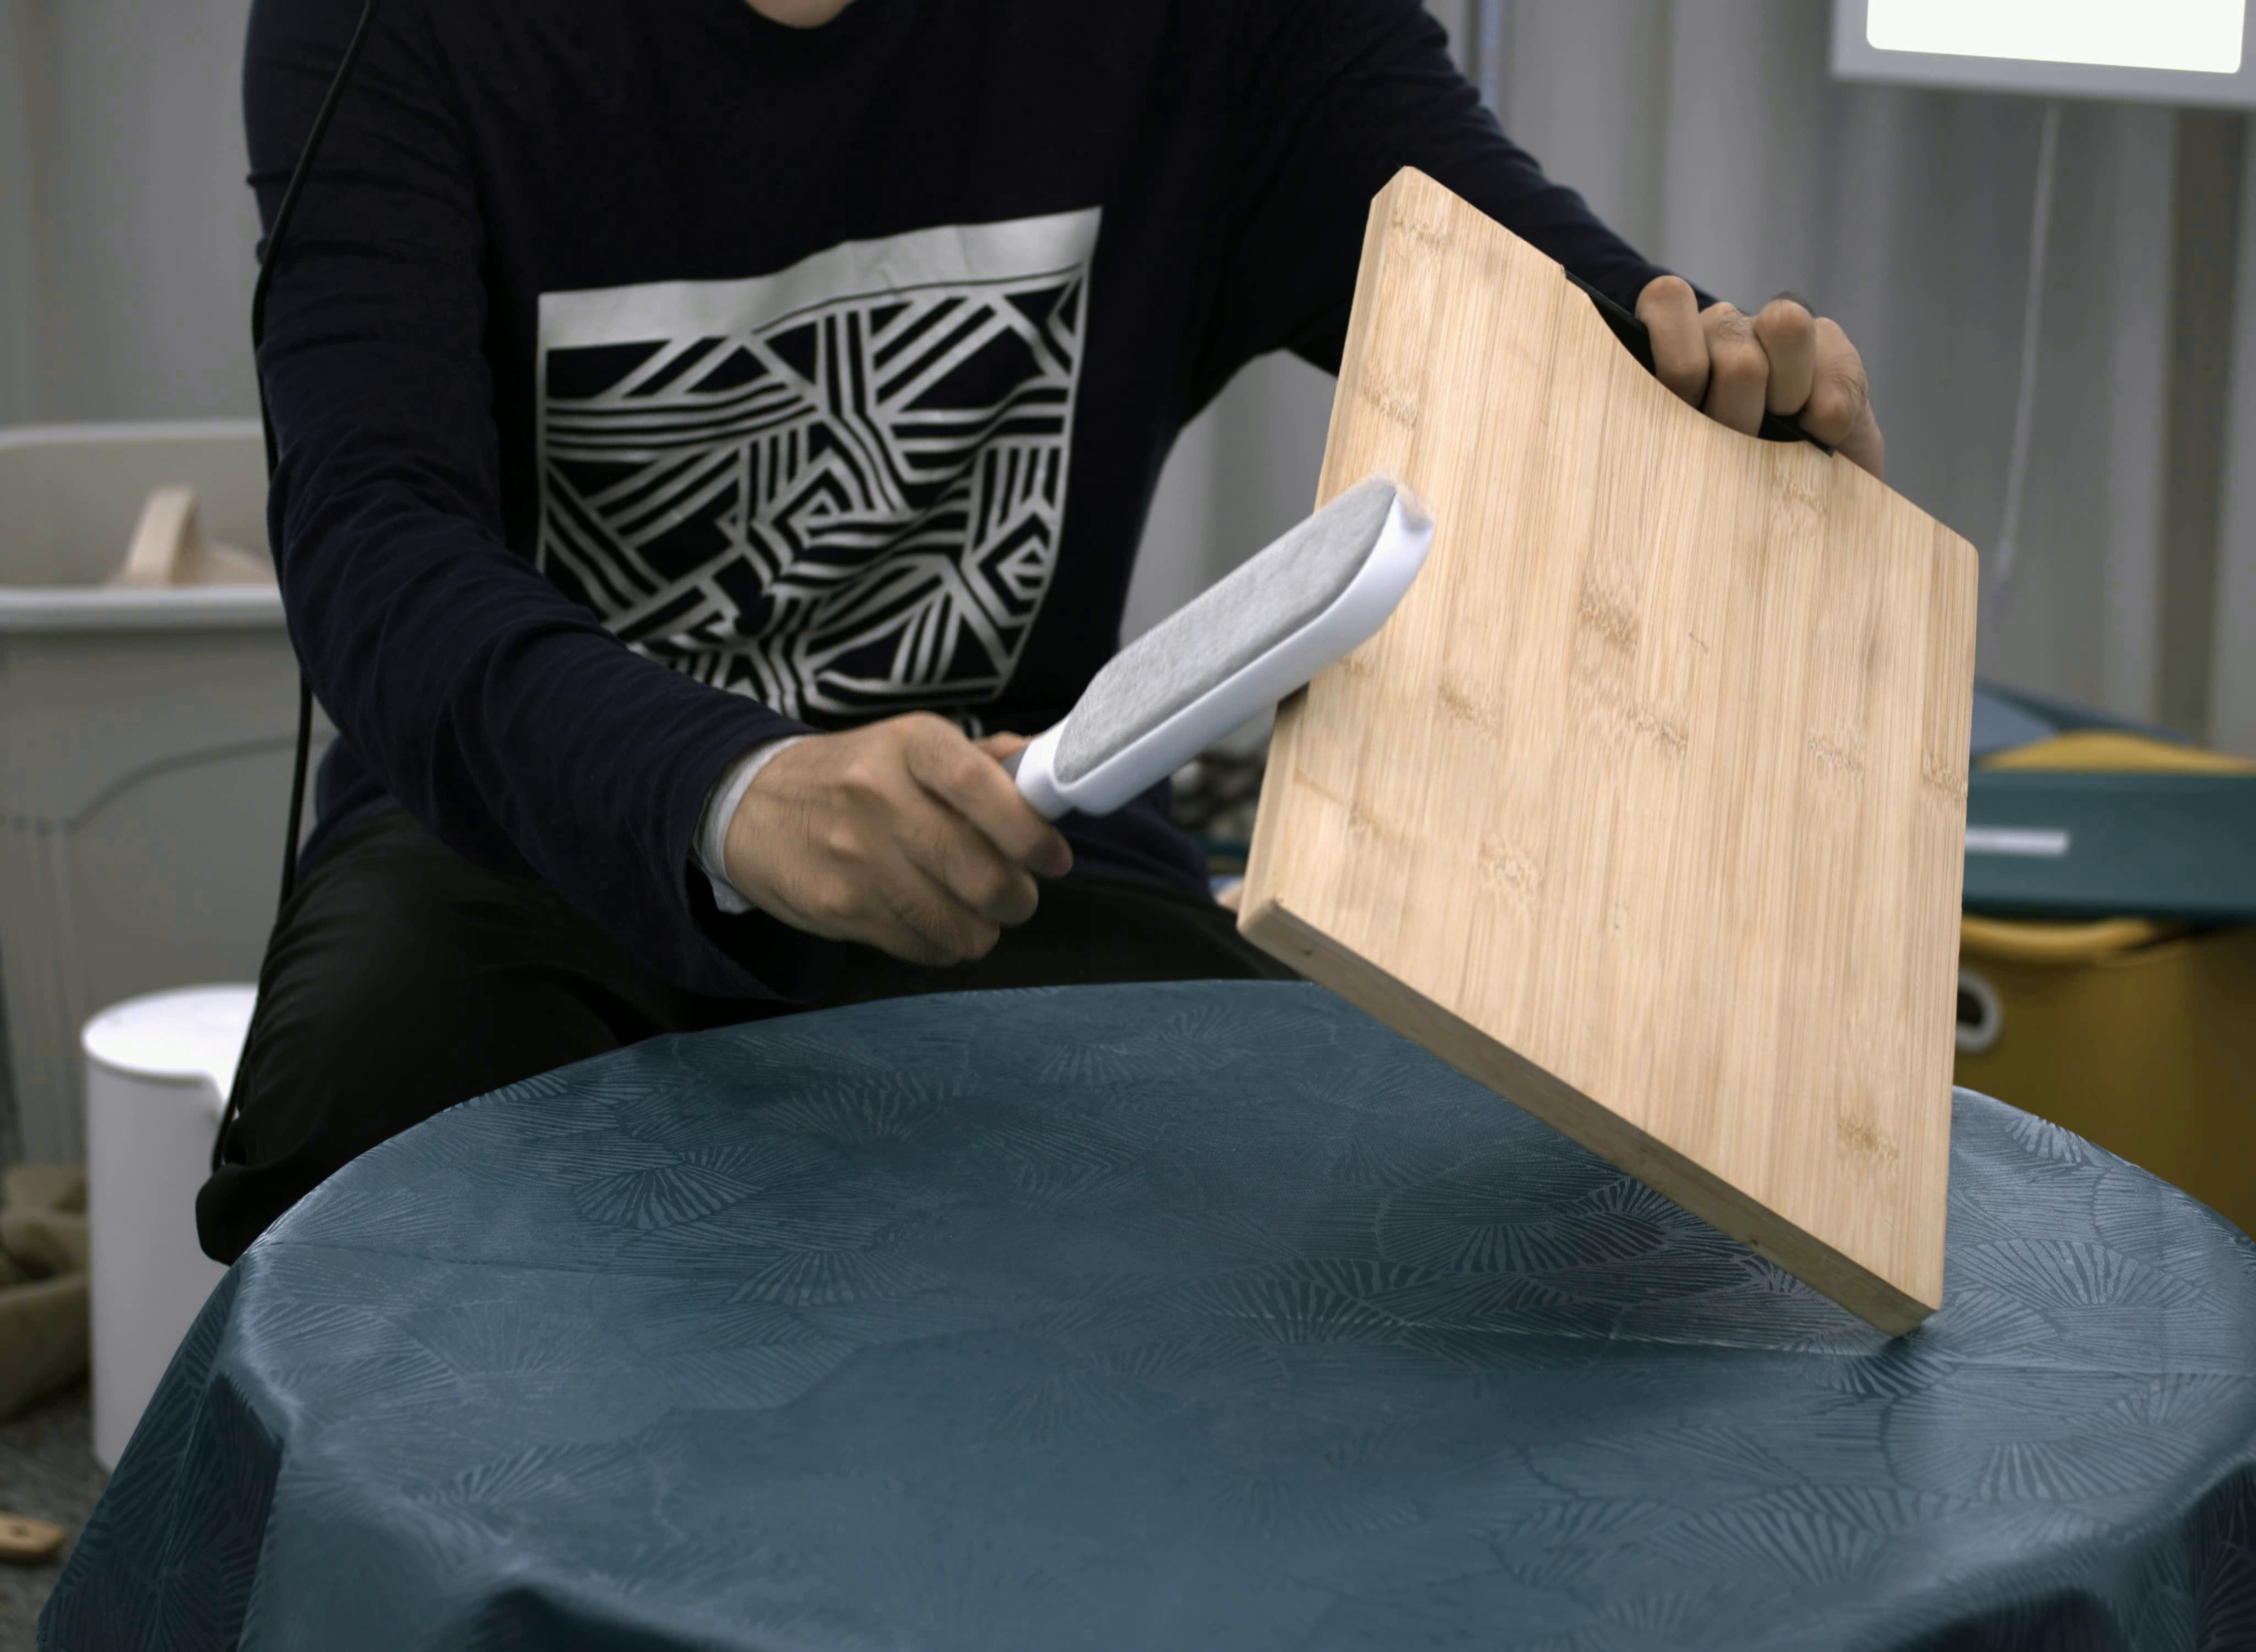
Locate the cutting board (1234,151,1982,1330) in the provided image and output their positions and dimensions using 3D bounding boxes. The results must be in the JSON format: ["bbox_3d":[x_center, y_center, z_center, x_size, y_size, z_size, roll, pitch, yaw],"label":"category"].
[{"bbox_3d":[0.155,-0.035,1.590,0.252,0.023,0.346,32,41,-20],"label":"cutting board"}]

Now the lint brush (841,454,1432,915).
[{"bbox_3d":[-0.003,-0.035,1.562,0.021,0.060,0.308,29,-34,-22],"label":"lint brush"}]
